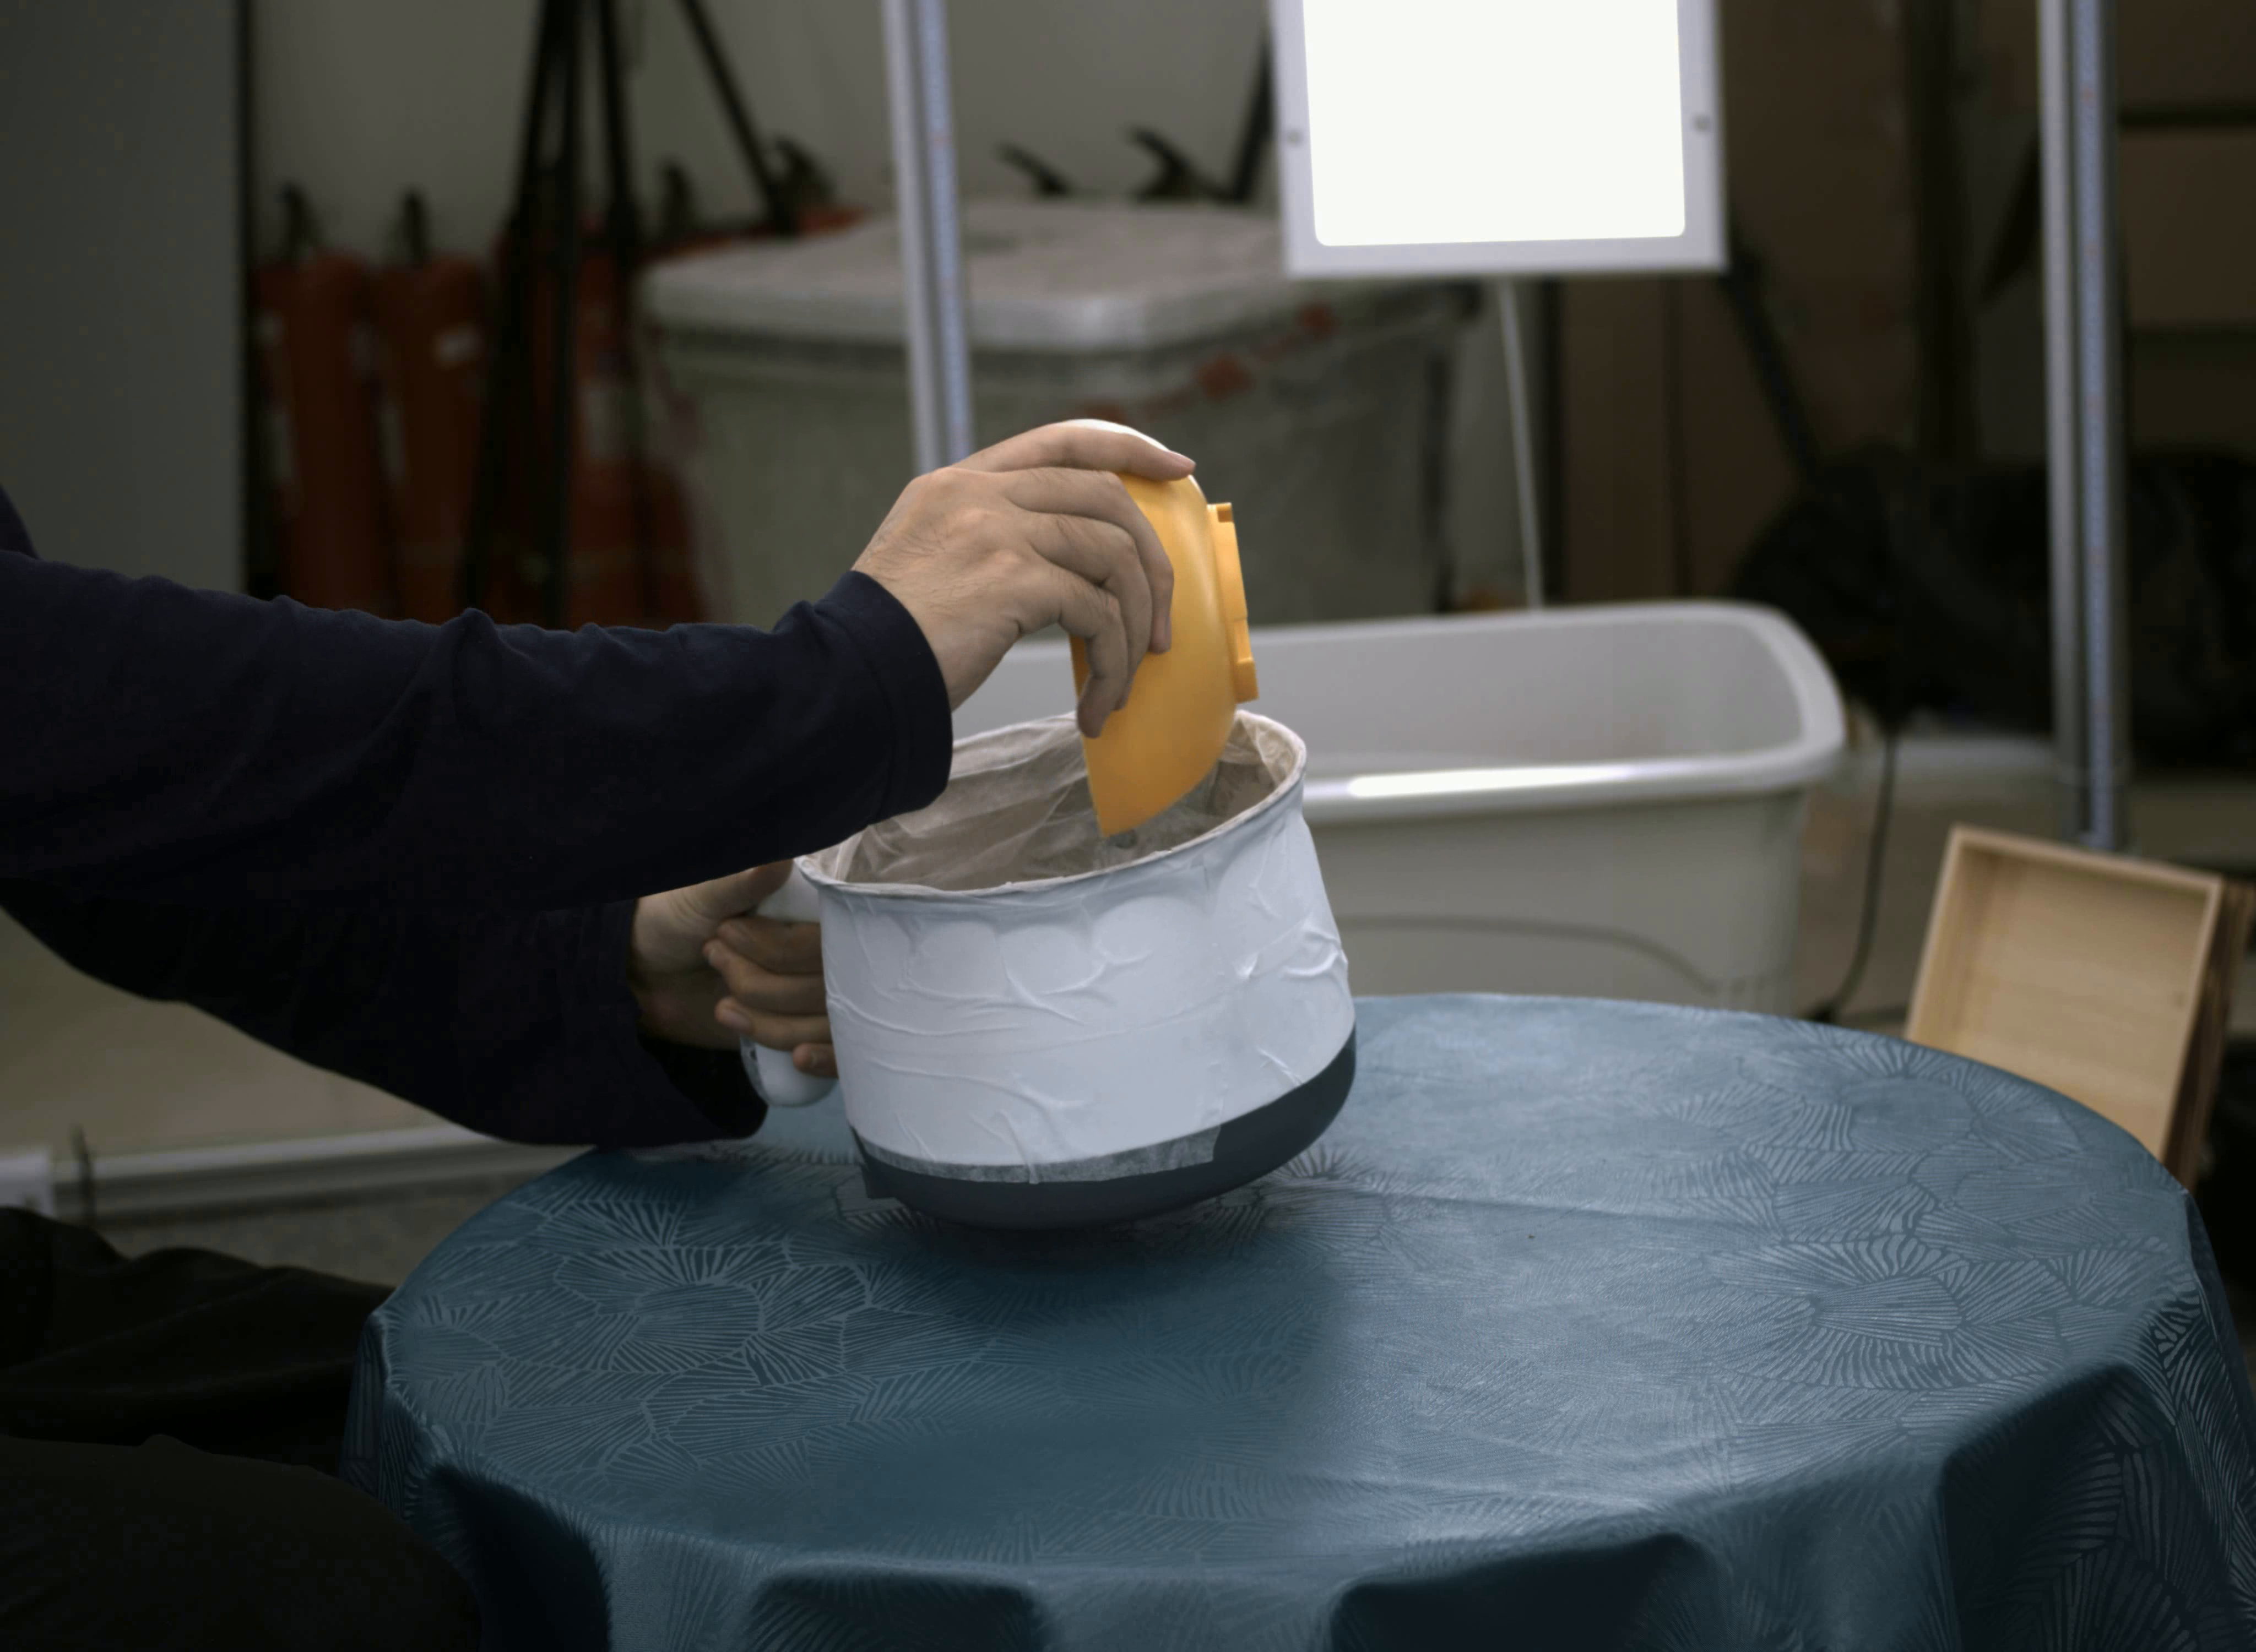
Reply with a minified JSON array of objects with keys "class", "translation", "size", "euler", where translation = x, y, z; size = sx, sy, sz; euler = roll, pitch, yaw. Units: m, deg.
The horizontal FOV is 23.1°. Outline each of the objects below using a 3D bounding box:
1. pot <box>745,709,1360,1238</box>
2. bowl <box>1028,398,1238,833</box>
[{"class":"pot","translation":[-0.038,0.051,1.883],"size":[0.238,0.137,0.175],"euler":[-1,21,34]},{"class":"bowl","translation":[0.005,-0.071,1.829],"size":[0.060,0.146,0.144],"euler":[-3,14,5]}]
